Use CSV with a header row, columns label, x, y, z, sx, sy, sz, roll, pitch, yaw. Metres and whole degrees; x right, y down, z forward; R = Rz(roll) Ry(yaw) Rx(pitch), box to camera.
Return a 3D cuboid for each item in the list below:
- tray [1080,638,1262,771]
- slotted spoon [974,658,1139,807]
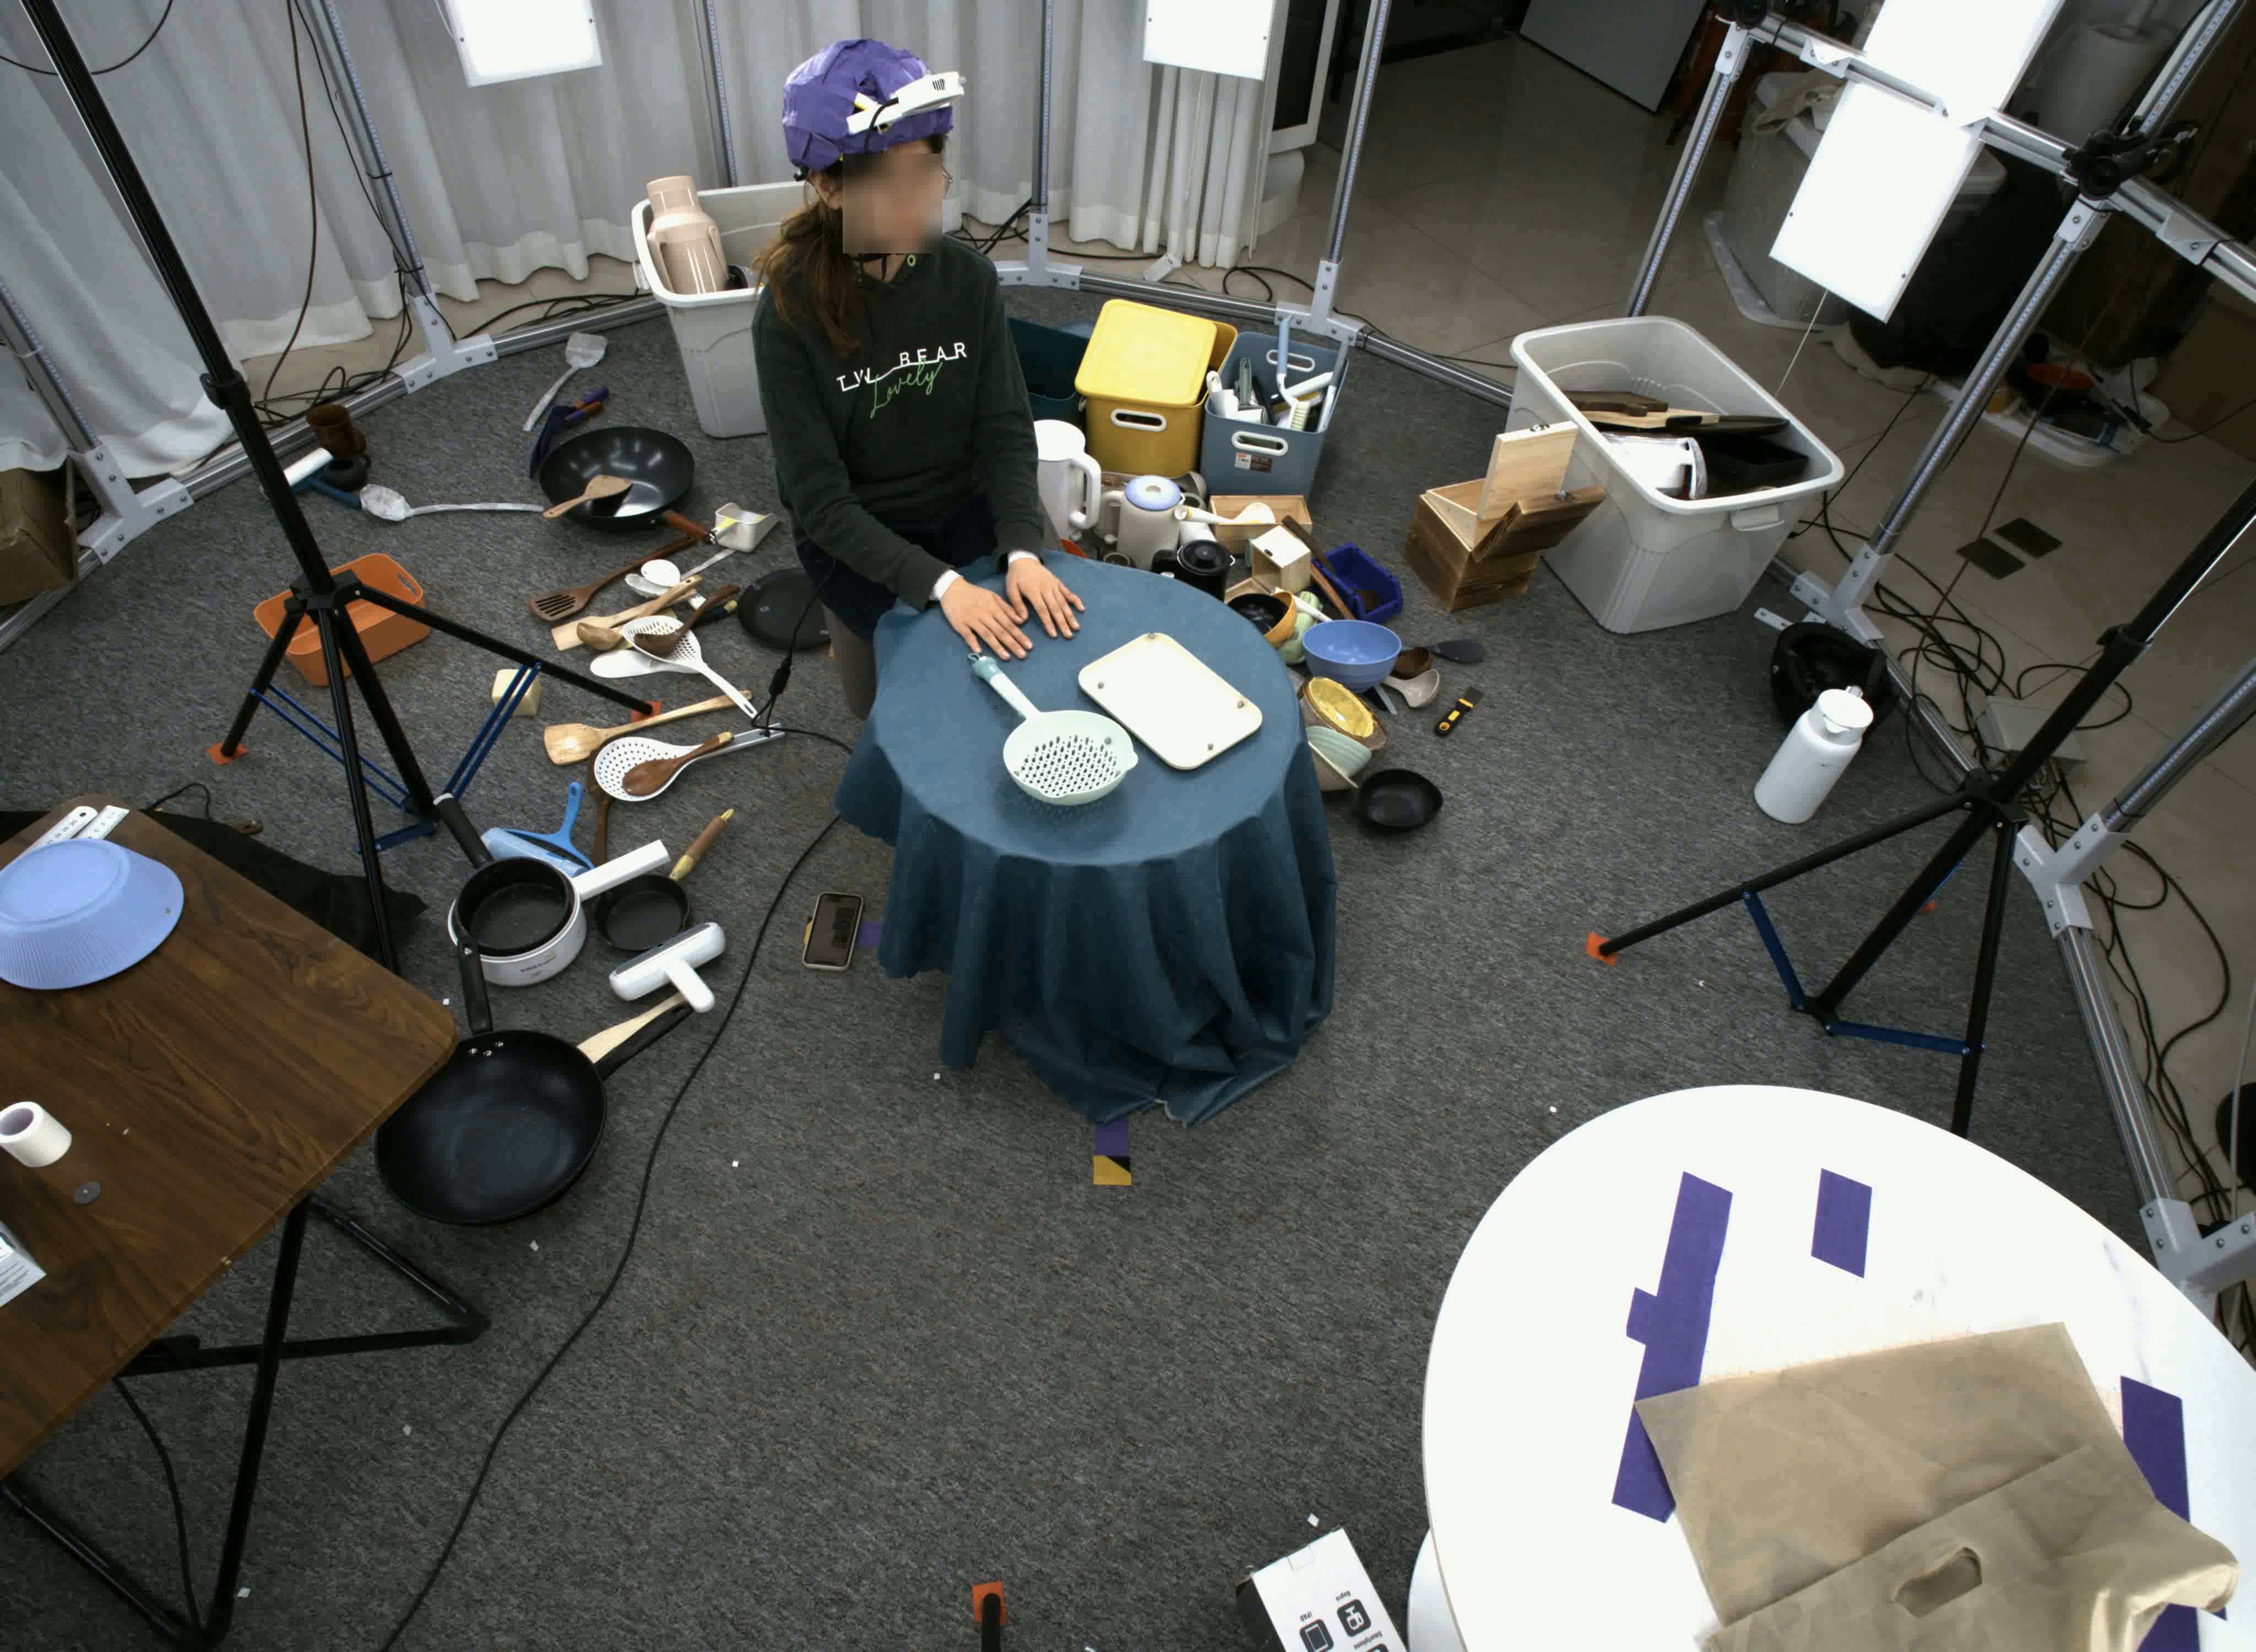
label,x,y,z,sx,sy,sz,roll,pitch,yaw
tray,0.060,-0.176,1.831,0.172,0.017,0.244,-32,57,-28
slotted spoon,-0.128,-0.145,1.761,0.170,0.073,0.366,-22,53,-22
